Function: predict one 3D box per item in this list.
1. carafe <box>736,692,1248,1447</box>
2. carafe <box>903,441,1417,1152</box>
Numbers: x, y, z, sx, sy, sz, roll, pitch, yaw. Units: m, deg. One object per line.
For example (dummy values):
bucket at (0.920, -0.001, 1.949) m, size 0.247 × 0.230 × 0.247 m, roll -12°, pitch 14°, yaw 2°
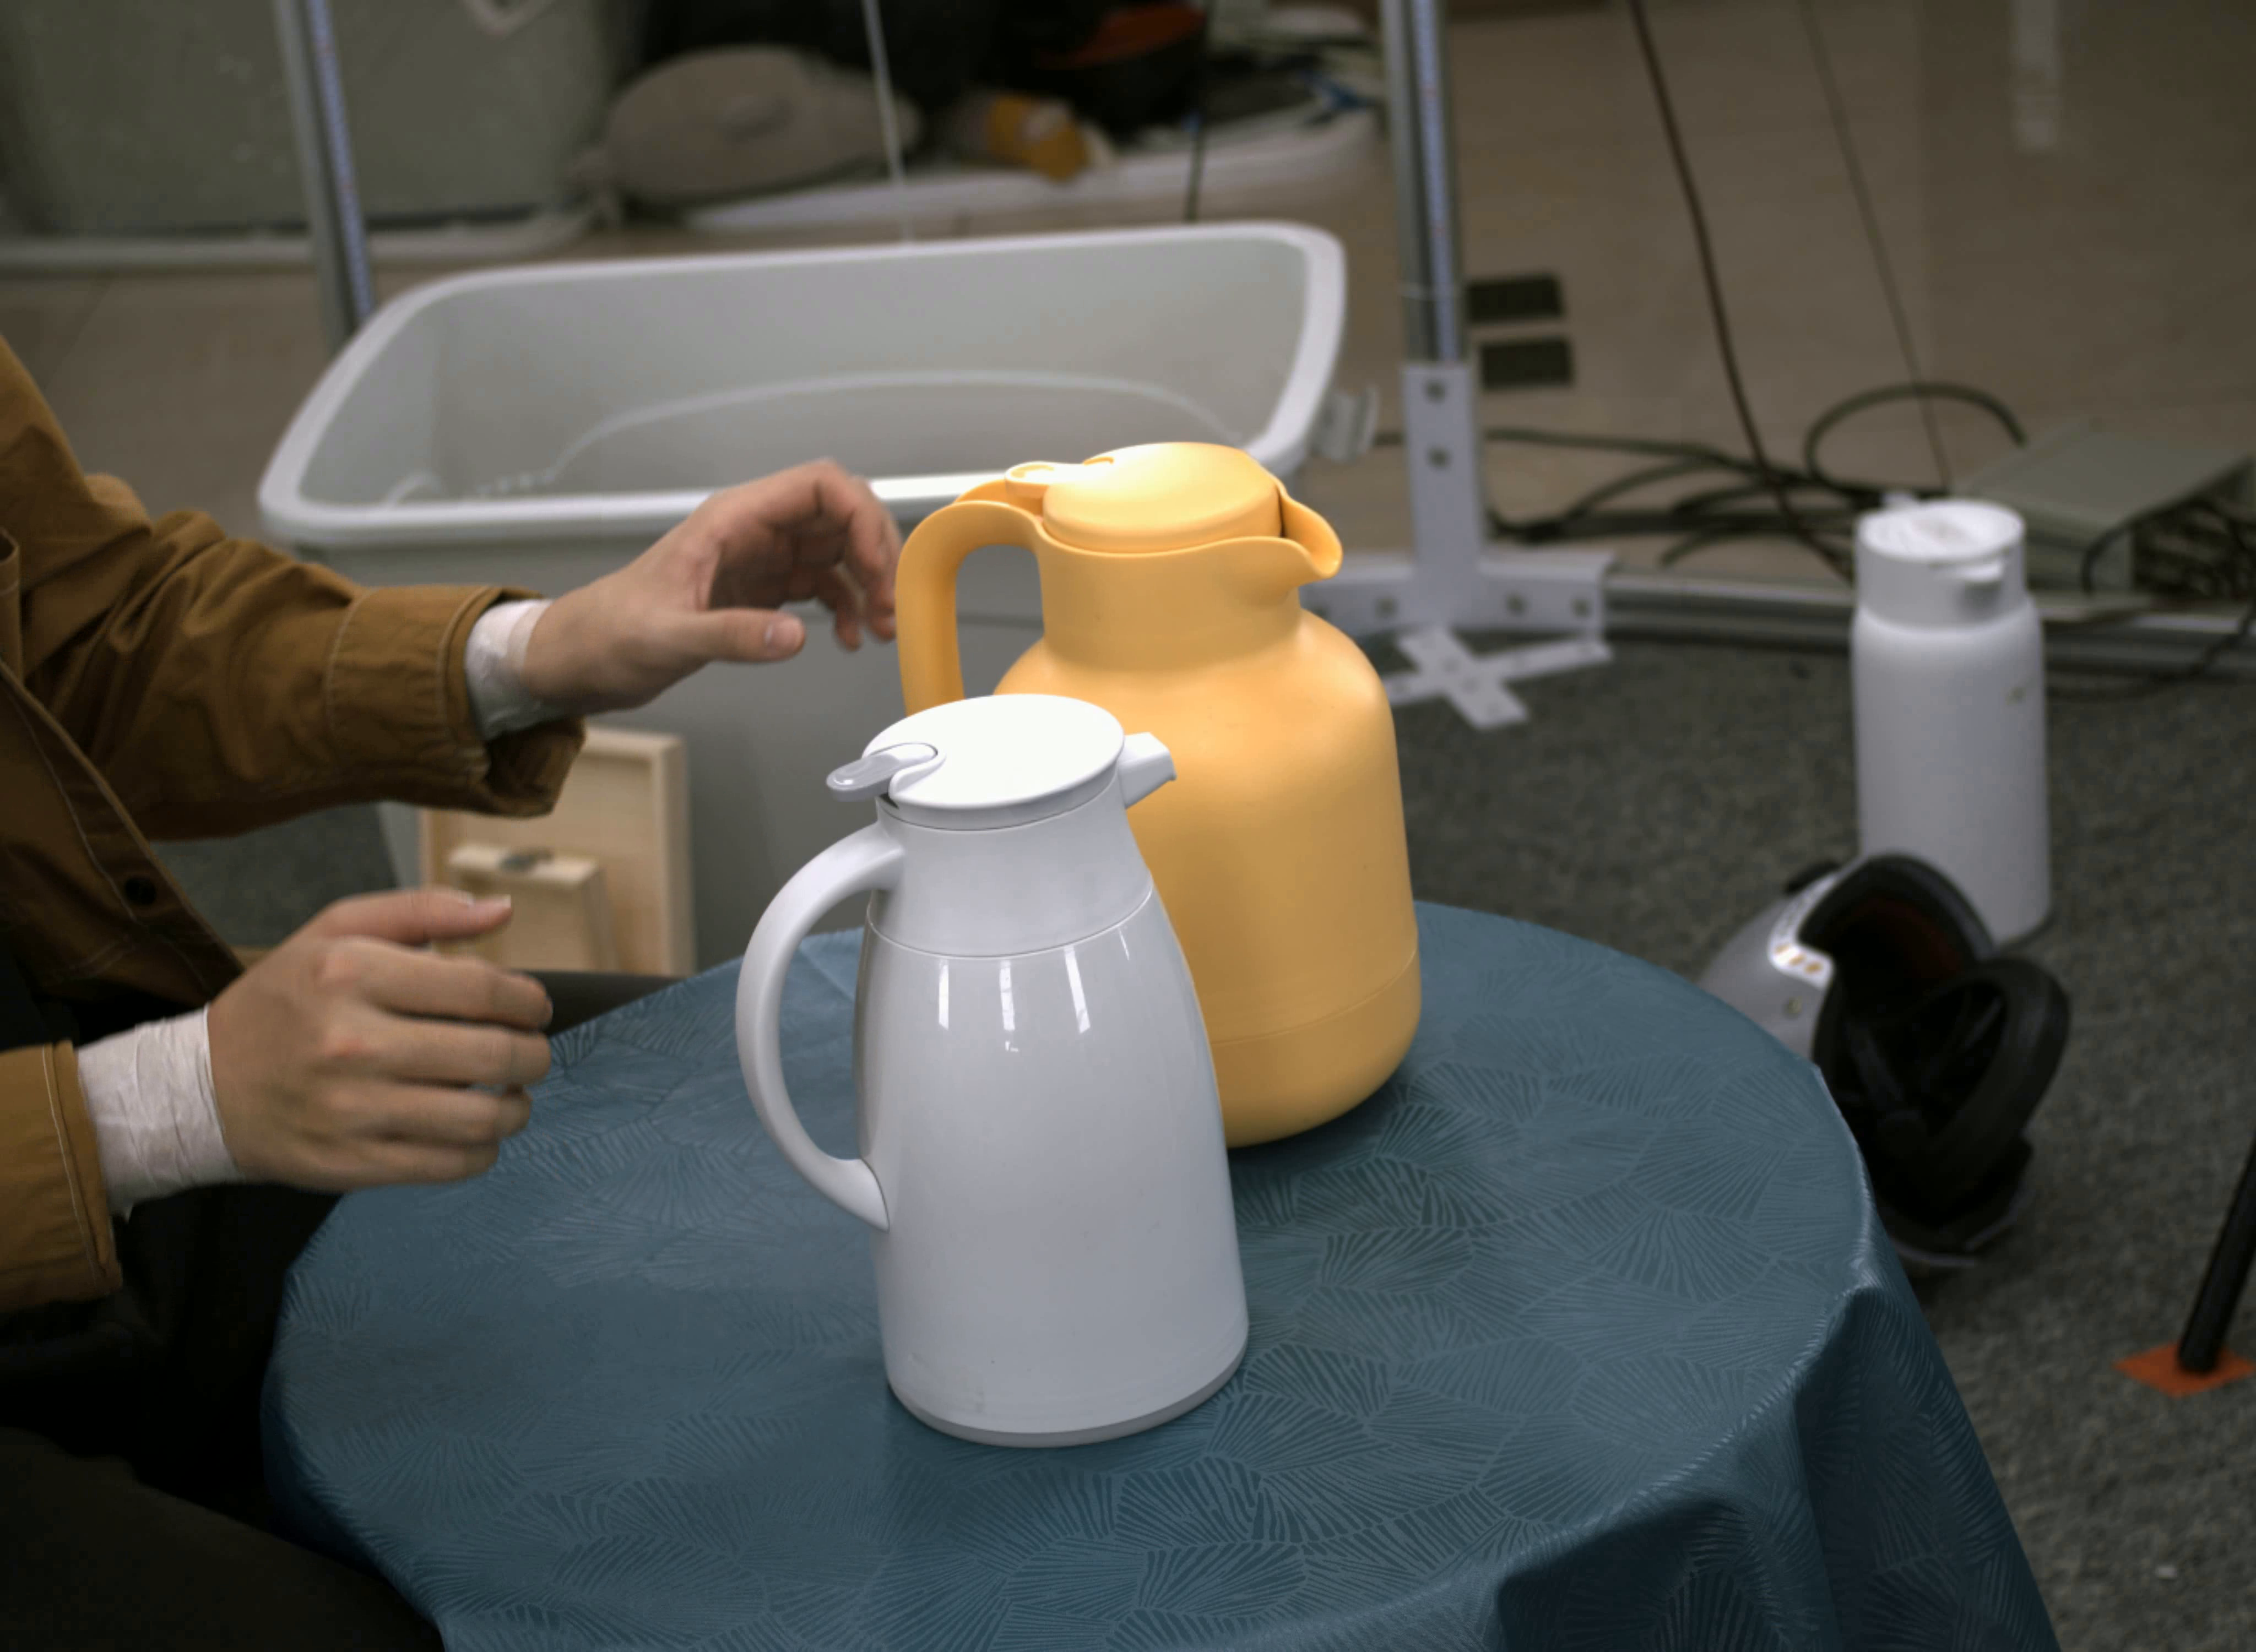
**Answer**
carafe at (-0.052, 0.083, 1.983) m, size 0.167 × 0.252 × 0.131 m, roll -16°, pitch 27°, yaw -18°
carafe at (0.009, -0.019, 2.176) m, size 0.201 × 0.264 × 0.162 m, roll 12°, pitch 30°, yaw 32°
